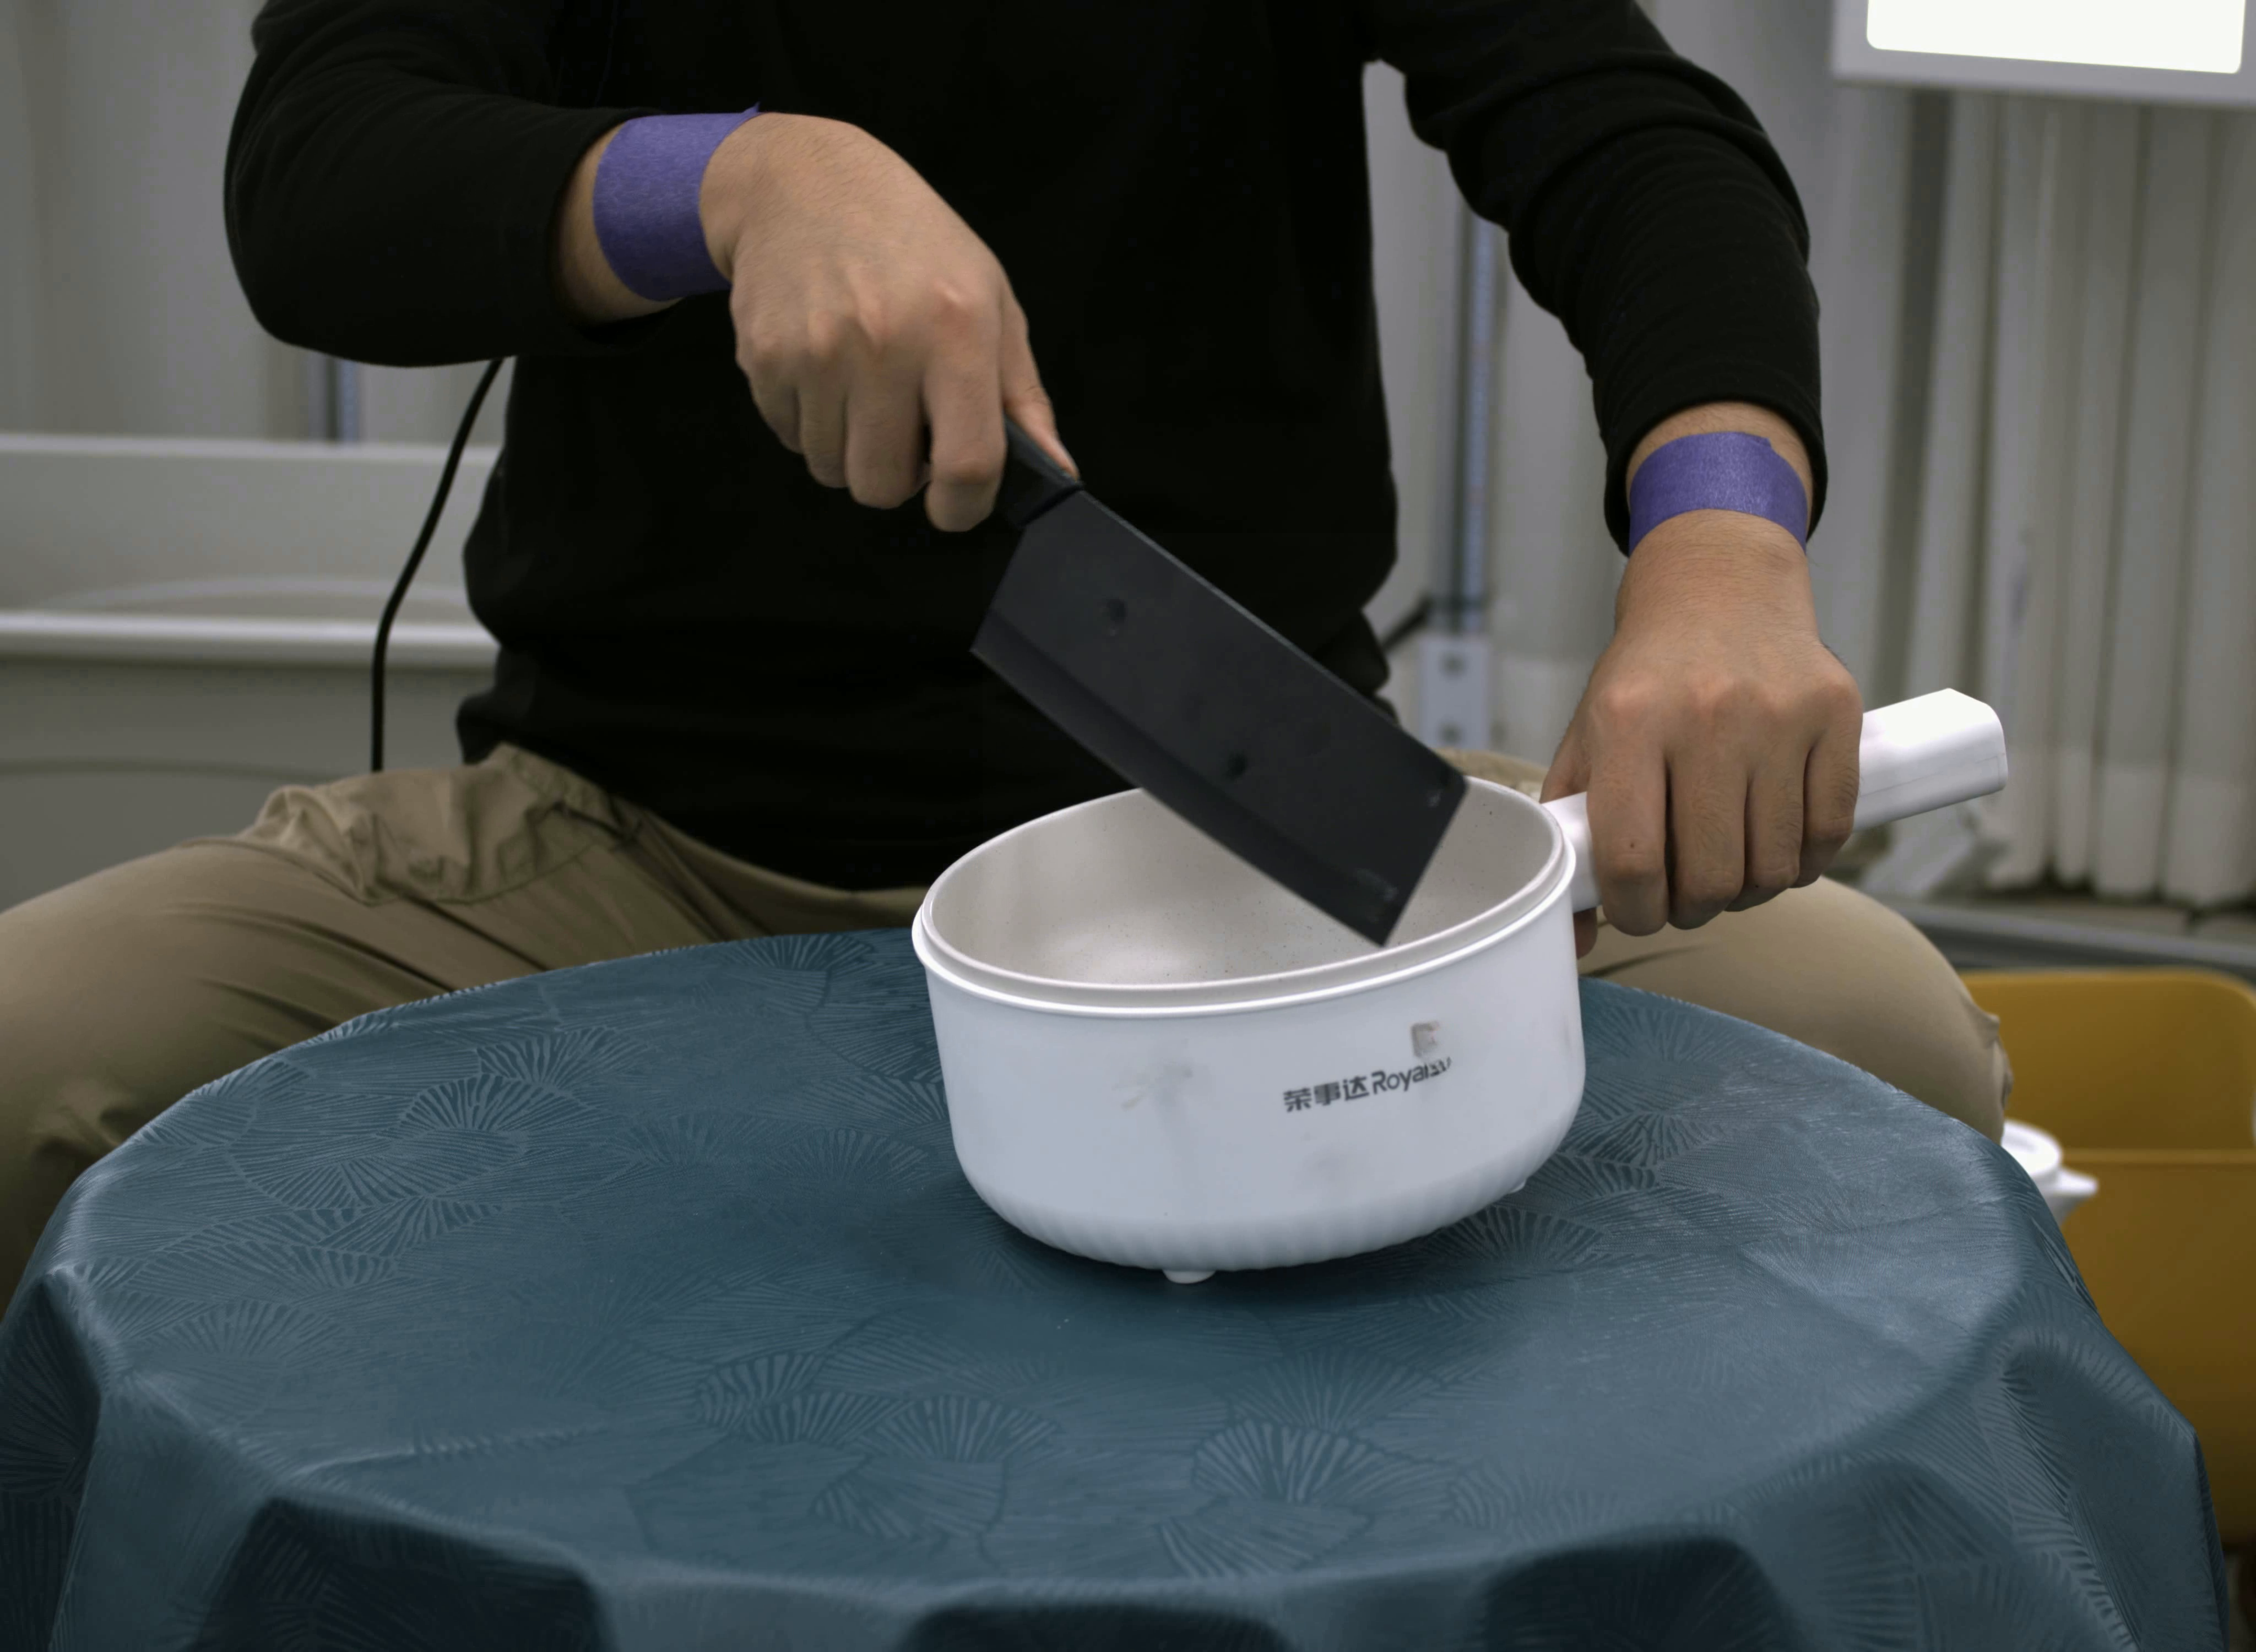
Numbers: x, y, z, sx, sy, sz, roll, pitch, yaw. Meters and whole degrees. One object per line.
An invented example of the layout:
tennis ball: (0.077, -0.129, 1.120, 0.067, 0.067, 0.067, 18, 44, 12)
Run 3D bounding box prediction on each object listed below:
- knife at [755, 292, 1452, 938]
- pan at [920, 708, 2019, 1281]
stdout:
knife: (-0.015, -0.071, 1.615, 0.299, 0.081, 0.021, 44, 26, 27)
pan: (0.112, 0.045, 1.622, 0.355, 0.103, 0.199, -13, 19, -20)
